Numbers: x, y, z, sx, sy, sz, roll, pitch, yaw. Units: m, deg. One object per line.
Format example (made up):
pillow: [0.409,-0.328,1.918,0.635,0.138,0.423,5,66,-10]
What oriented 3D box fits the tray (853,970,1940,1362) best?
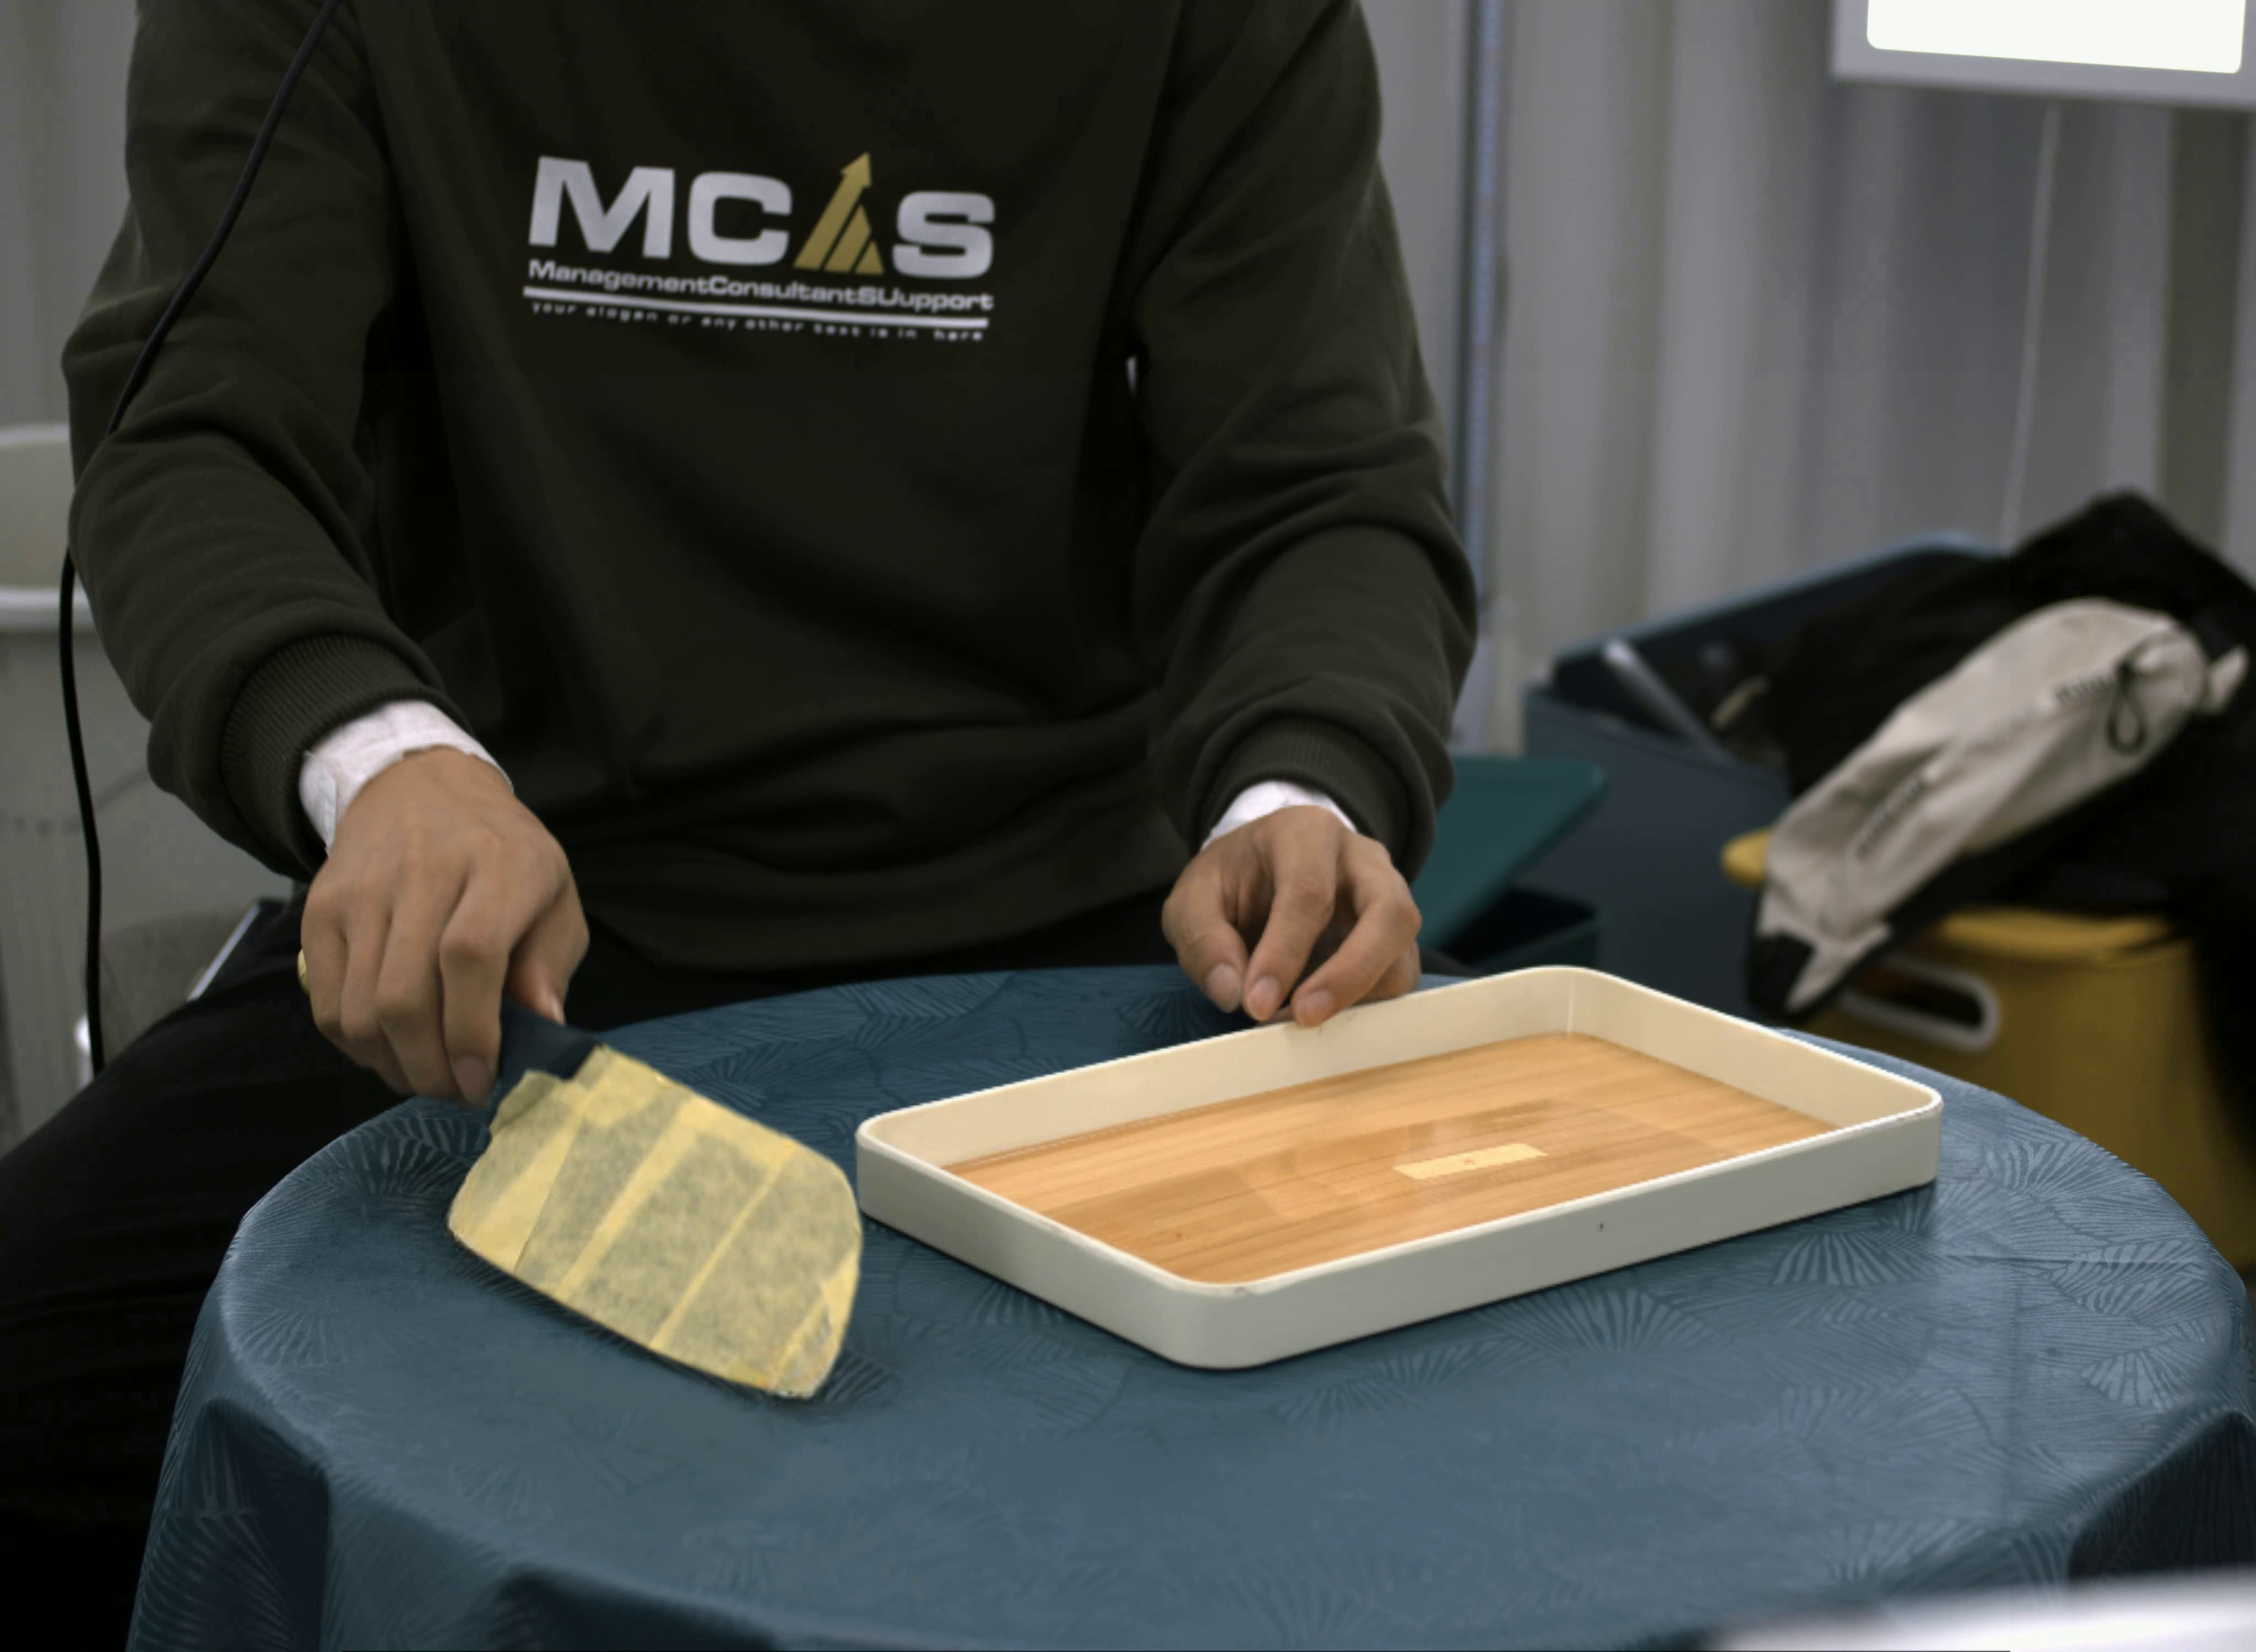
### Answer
tray: [0.084,0.100,1.623,0.302,0.027,0.189,-10,18,-36]

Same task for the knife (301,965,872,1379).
knife: [-0.167,0.098,1.543,0.285,0.027,0.081,25,68,46]
